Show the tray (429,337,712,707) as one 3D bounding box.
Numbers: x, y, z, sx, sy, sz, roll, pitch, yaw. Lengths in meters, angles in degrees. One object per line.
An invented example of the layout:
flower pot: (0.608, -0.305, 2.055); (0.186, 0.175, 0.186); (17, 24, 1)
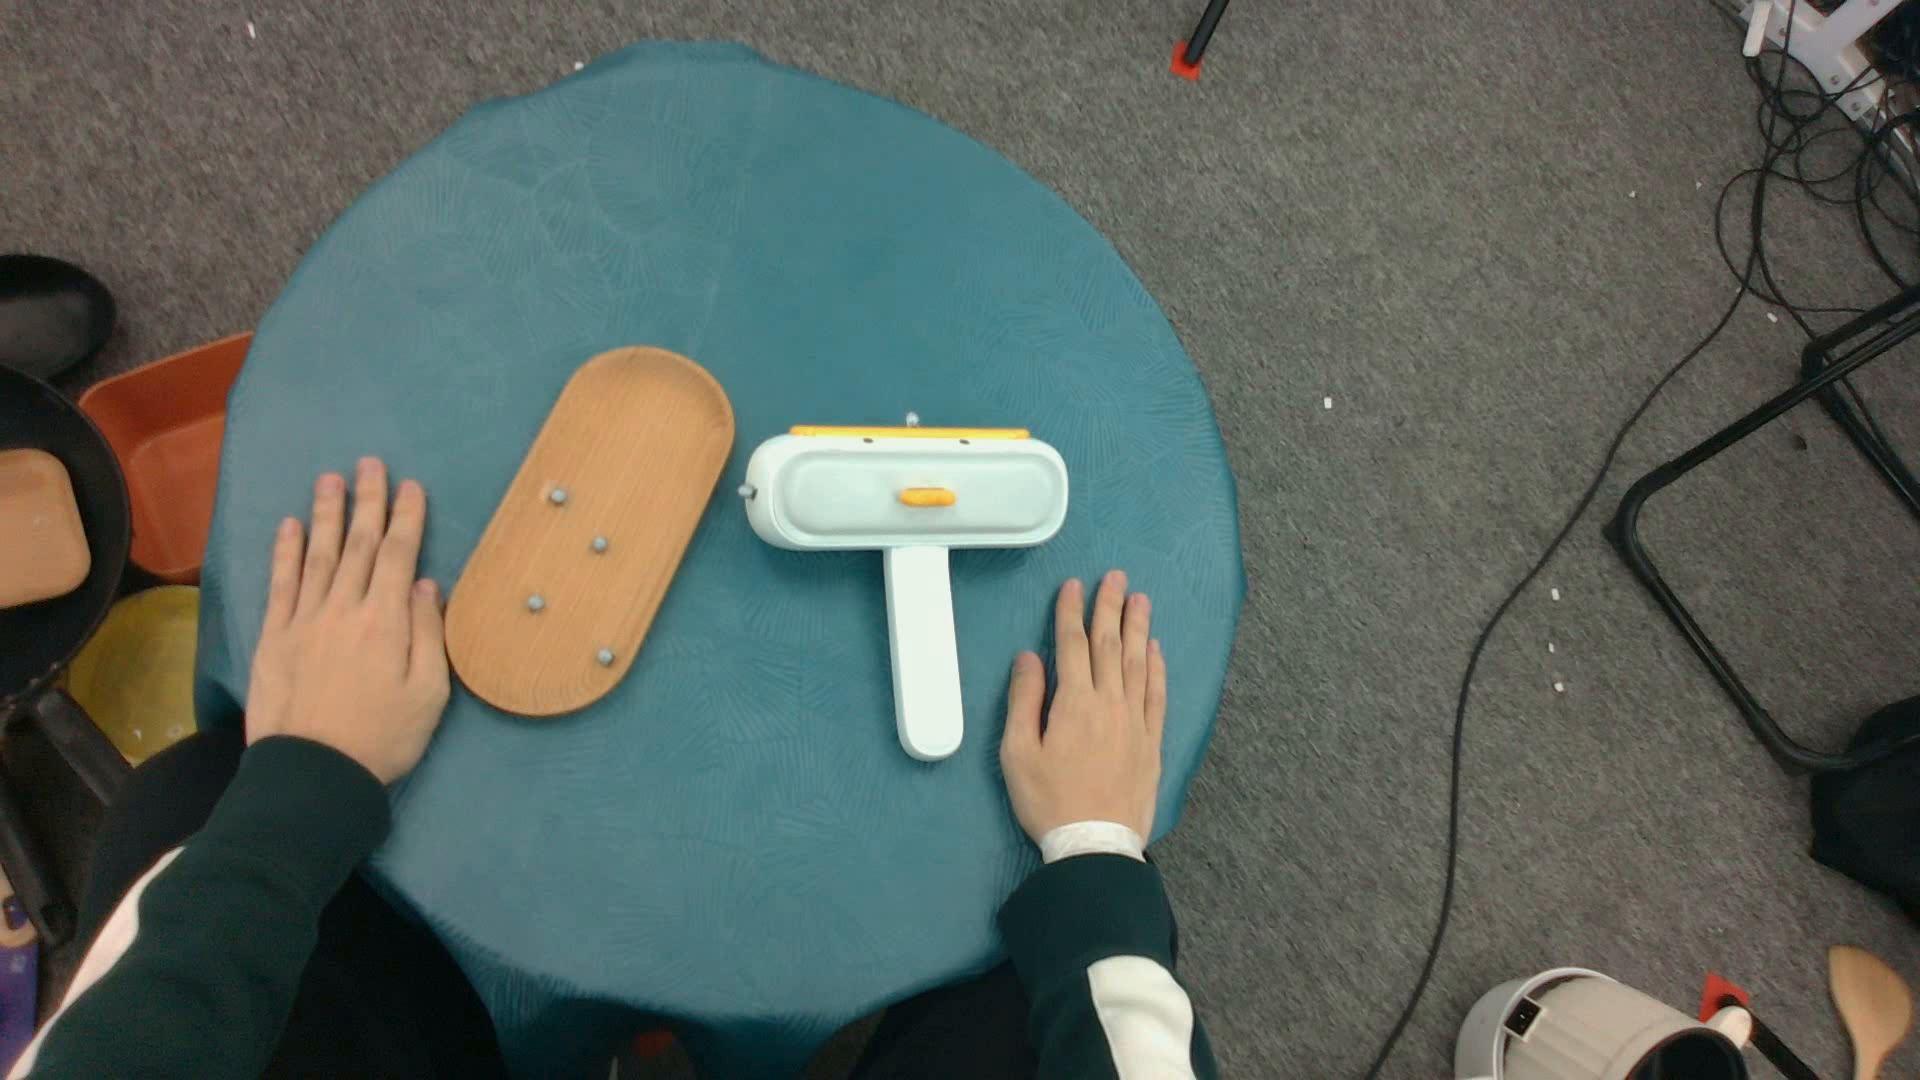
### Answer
tray: (-0.214, -0.015, 0.773); (0.102, 0.020, 0.232); (22, 63, -7)

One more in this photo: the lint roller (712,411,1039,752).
lint roller: (-0.037, 0.024, 0.789); (0.193, 0.074, 0.192); (-5, 89, -24)
